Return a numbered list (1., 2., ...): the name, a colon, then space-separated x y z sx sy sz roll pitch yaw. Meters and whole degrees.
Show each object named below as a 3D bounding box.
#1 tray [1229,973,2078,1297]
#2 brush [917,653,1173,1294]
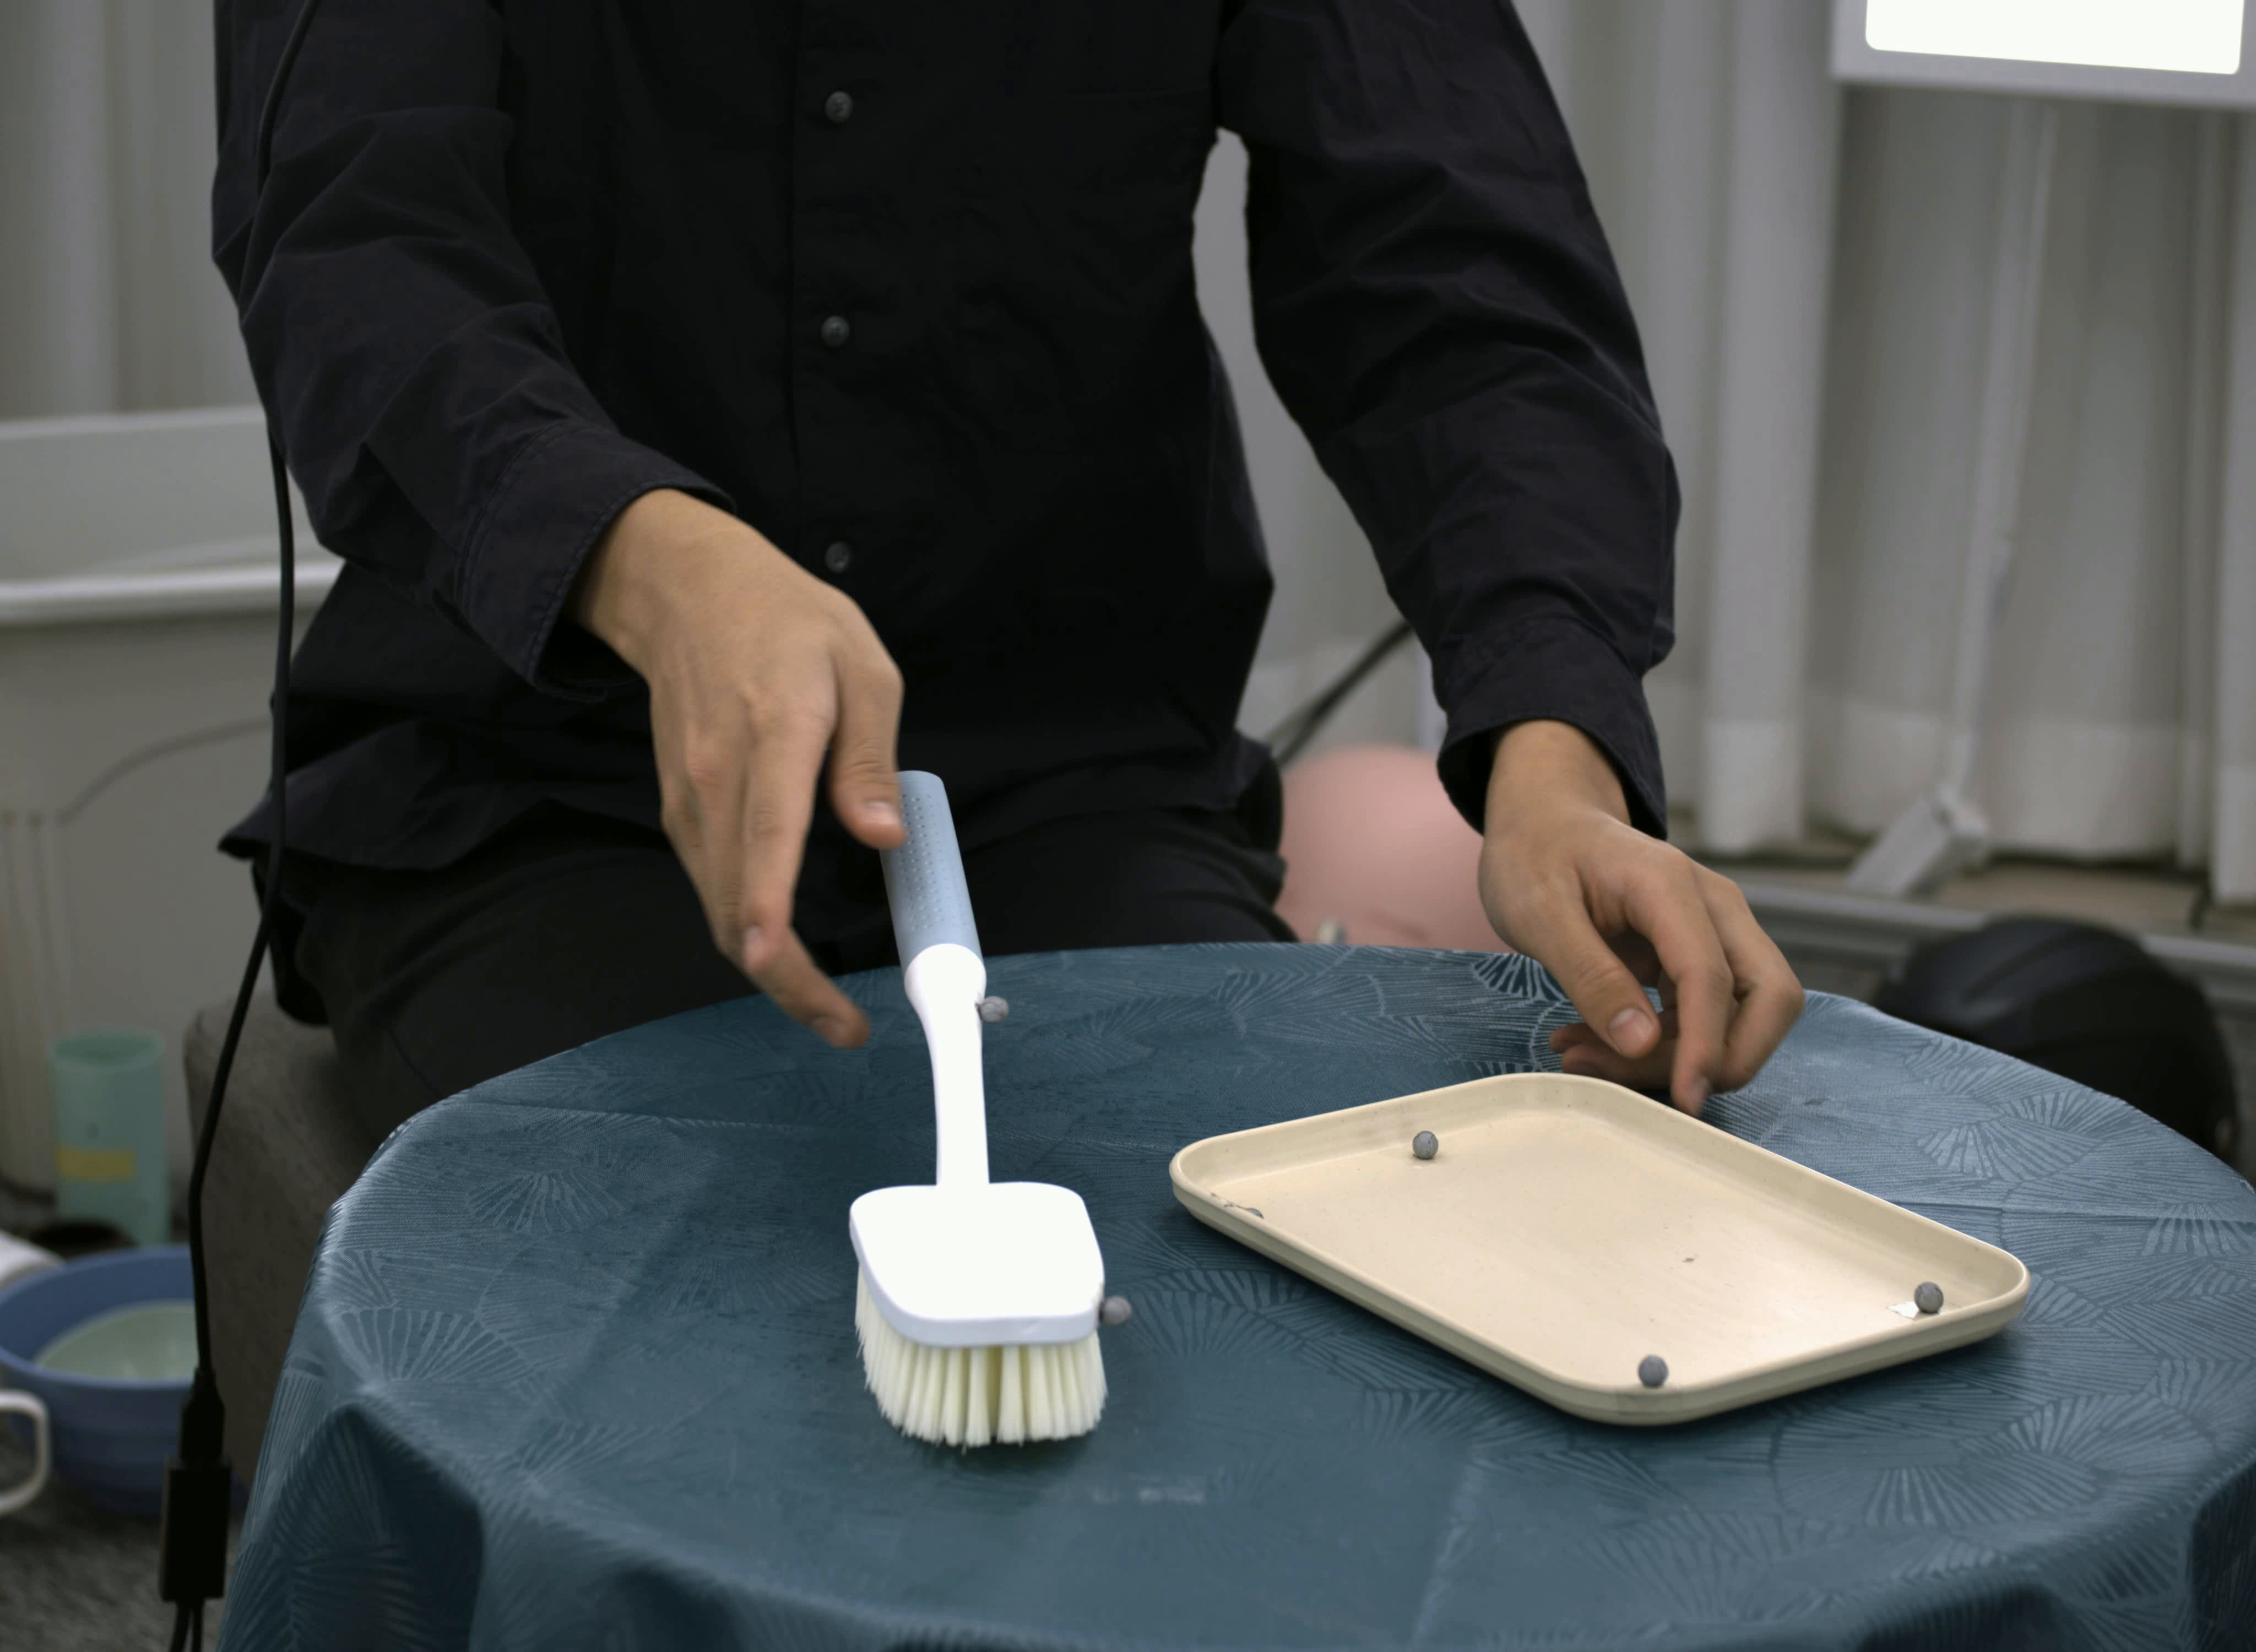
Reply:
1. tray: 0.155 0.092 1.591 0.172 0.017 0.236 -9 19 -33
2. brush: -0.029 0.056 1.585 0.084 0.084 0.322 33 19 -22
